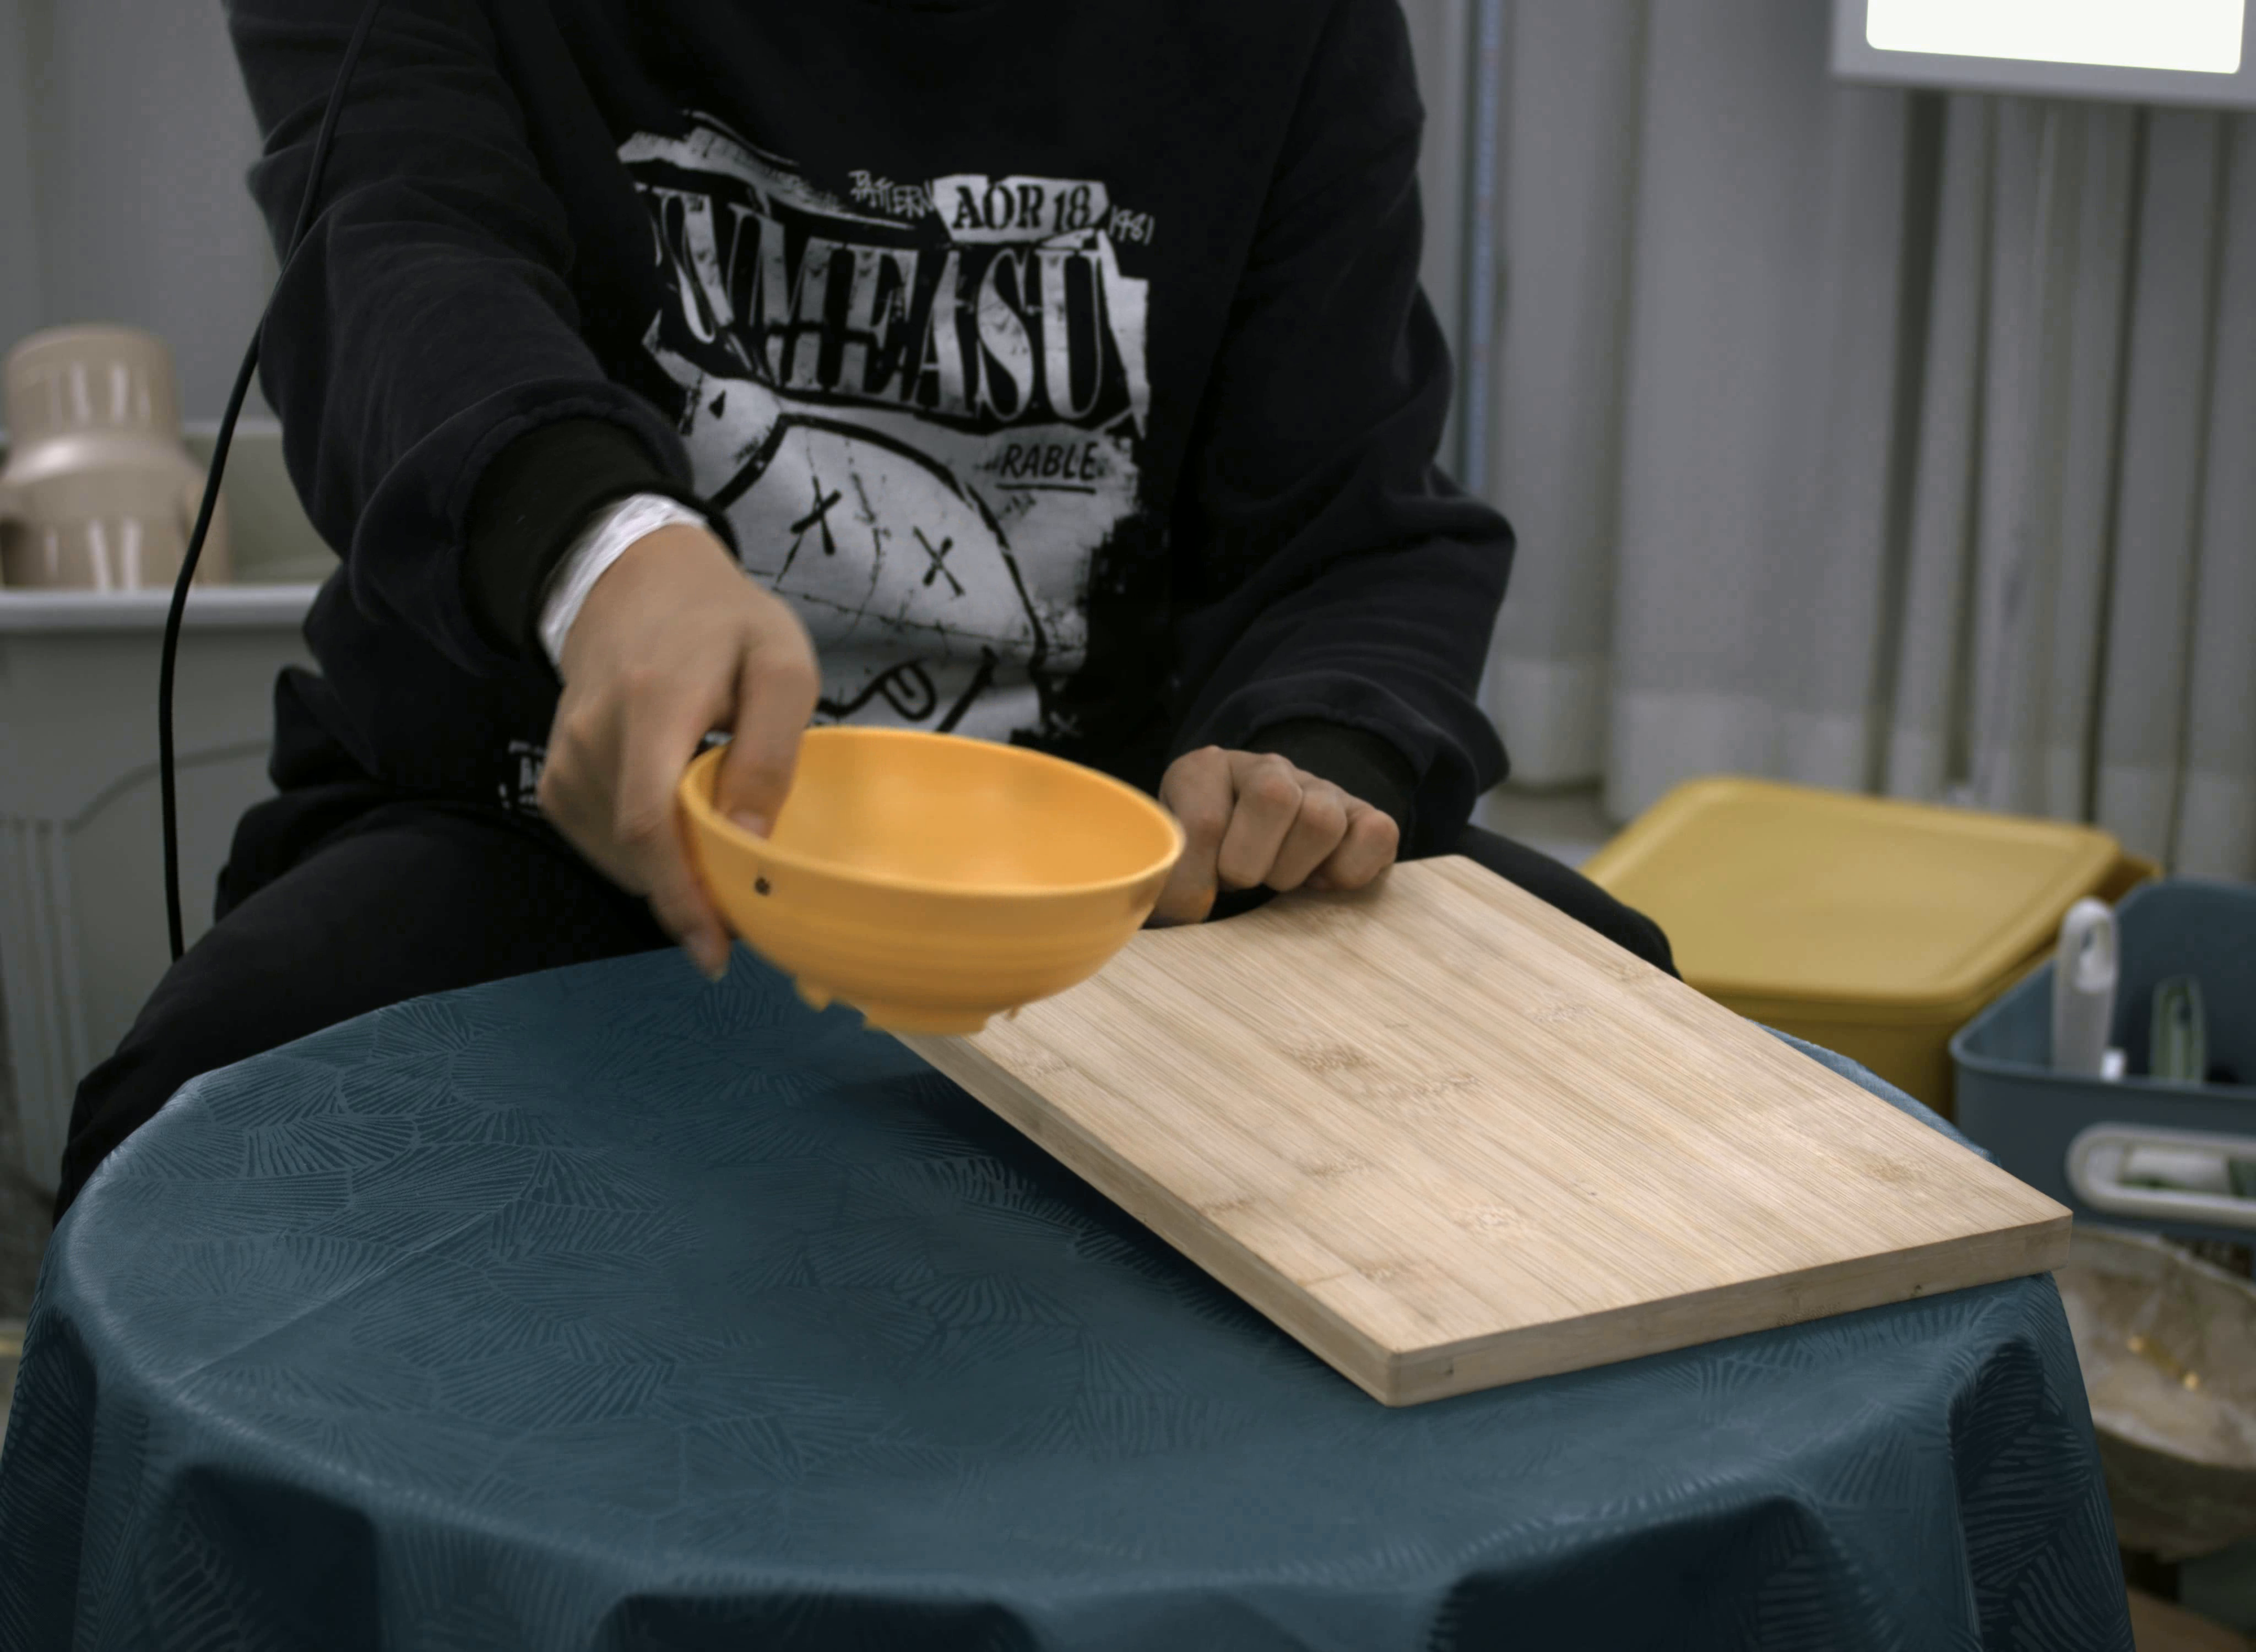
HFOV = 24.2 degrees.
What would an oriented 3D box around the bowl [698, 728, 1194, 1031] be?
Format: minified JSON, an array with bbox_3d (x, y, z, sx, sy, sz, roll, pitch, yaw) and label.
[{"bbox_3d":[-0.056,0.020,1.511,0.145,0.060,0.144,9,15,-2],"label":"bowl"}]

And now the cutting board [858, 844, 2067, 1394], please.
[{"bbox_3d":[0.092,0.084,1.651,0.252,0.024,0.344,-8,23,-30],"label":"cutting board"}]
